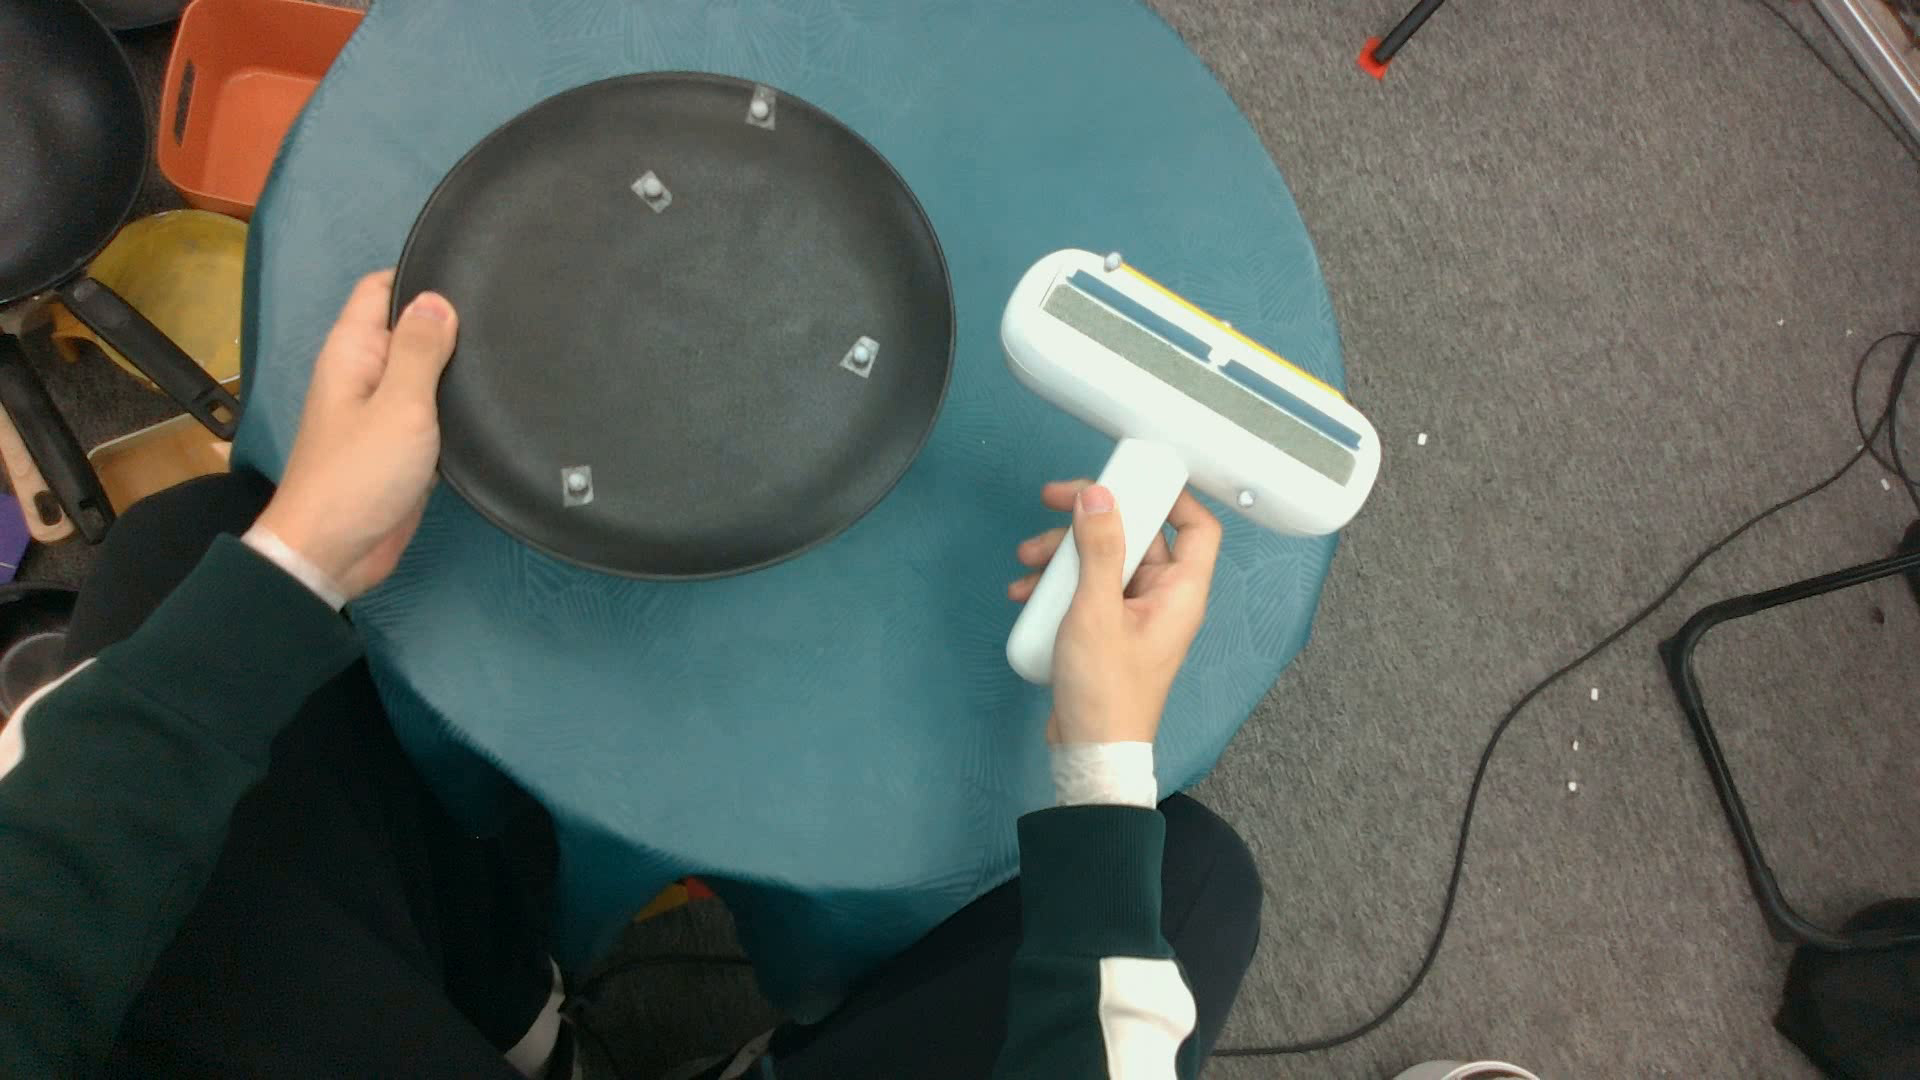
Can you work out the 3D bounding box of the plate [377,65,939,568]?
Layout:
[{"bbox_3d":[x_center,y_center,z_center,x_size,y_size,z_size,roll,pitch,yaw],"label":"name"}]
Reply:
[{"bbox_3d":[-0.131,-0.102,0.619,0.244,0.023,0.245,2,74,-8],"label":"plate"}]

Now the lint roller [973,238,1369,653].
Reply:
[{"bbox_3d":[0.074,-0.026,0.672,0.193,0.074,0.192,34,90,-6],"label":"lint roller"}]
